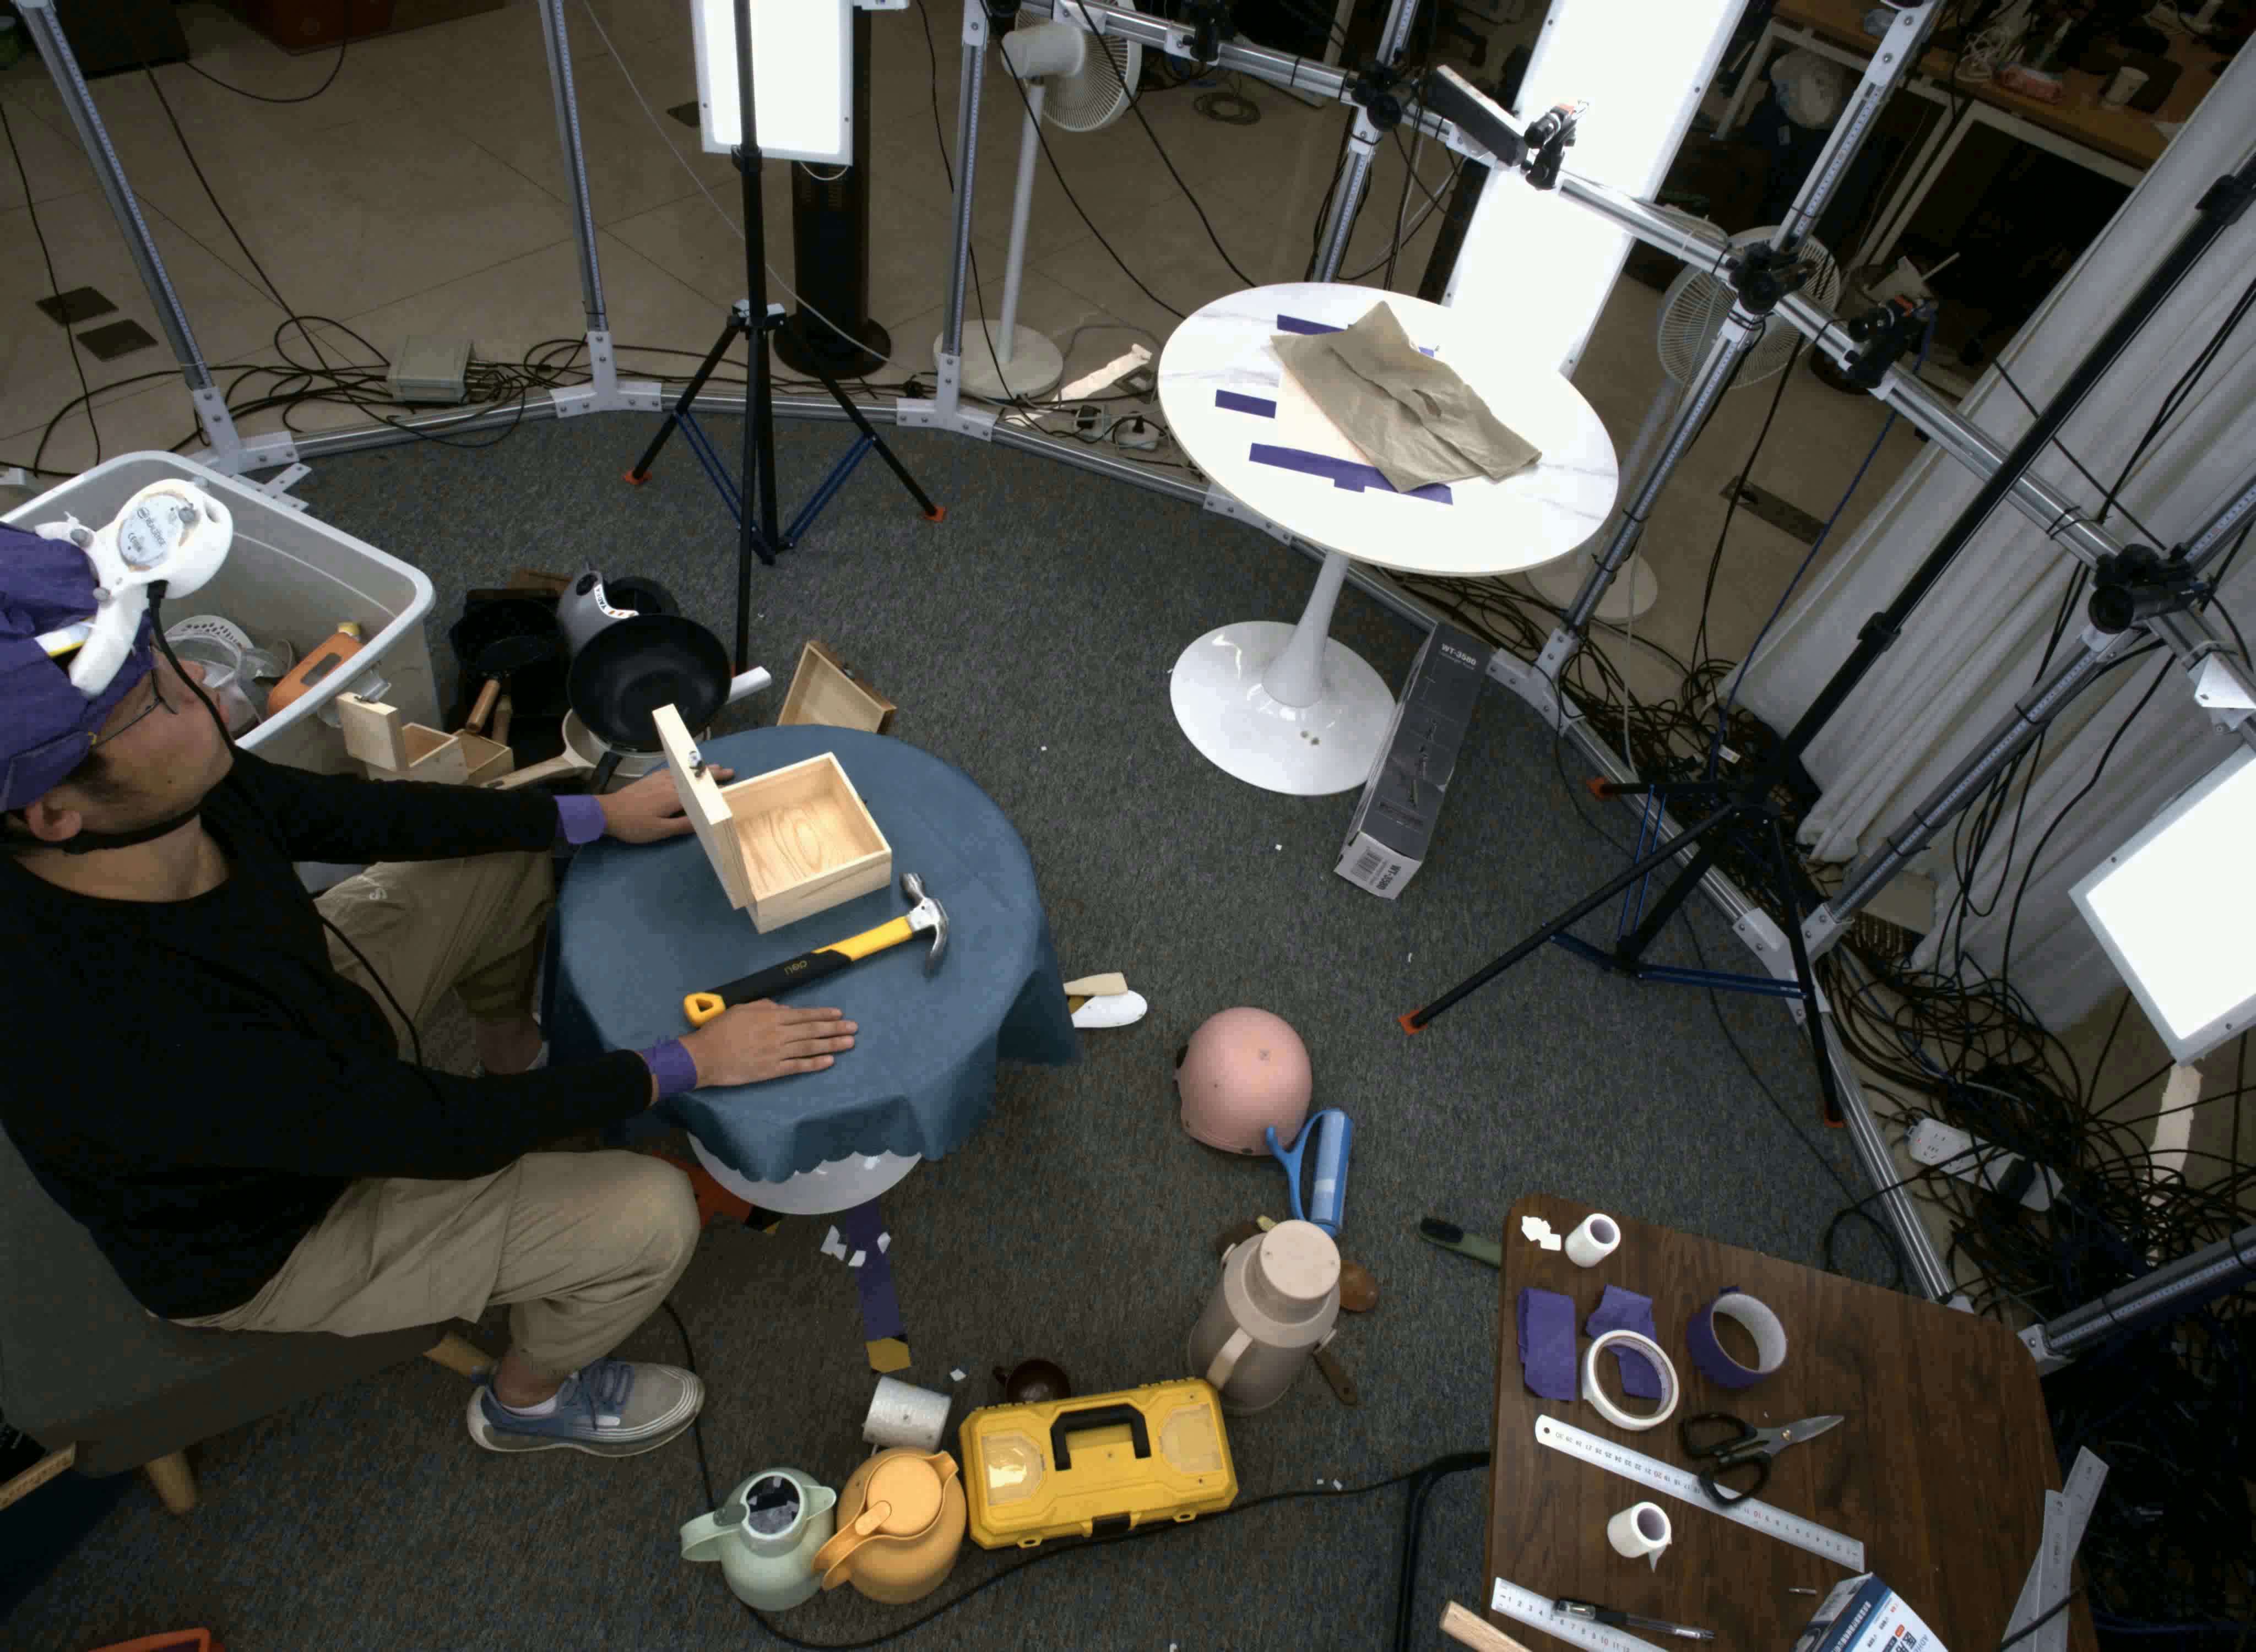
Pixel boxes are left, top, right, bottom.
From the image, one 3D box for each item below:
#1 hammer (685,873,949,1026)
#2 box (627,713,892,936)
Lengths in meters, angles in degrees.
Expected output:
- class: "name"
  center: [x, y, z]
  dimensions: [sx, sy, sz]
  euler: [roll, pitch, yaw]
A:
- class: "hammer"
  center: [-0.376, 0.162, 1.588]
  dimensions: [0.340, 0.033, 0.128]
  euler: [-20, 61, -28]
- class: "box"
  center: [-0.439, -0.026, 1.576]
  dimensions: [0.266, 0.258, 0.177]
  euler: [-23, 62, -27]
